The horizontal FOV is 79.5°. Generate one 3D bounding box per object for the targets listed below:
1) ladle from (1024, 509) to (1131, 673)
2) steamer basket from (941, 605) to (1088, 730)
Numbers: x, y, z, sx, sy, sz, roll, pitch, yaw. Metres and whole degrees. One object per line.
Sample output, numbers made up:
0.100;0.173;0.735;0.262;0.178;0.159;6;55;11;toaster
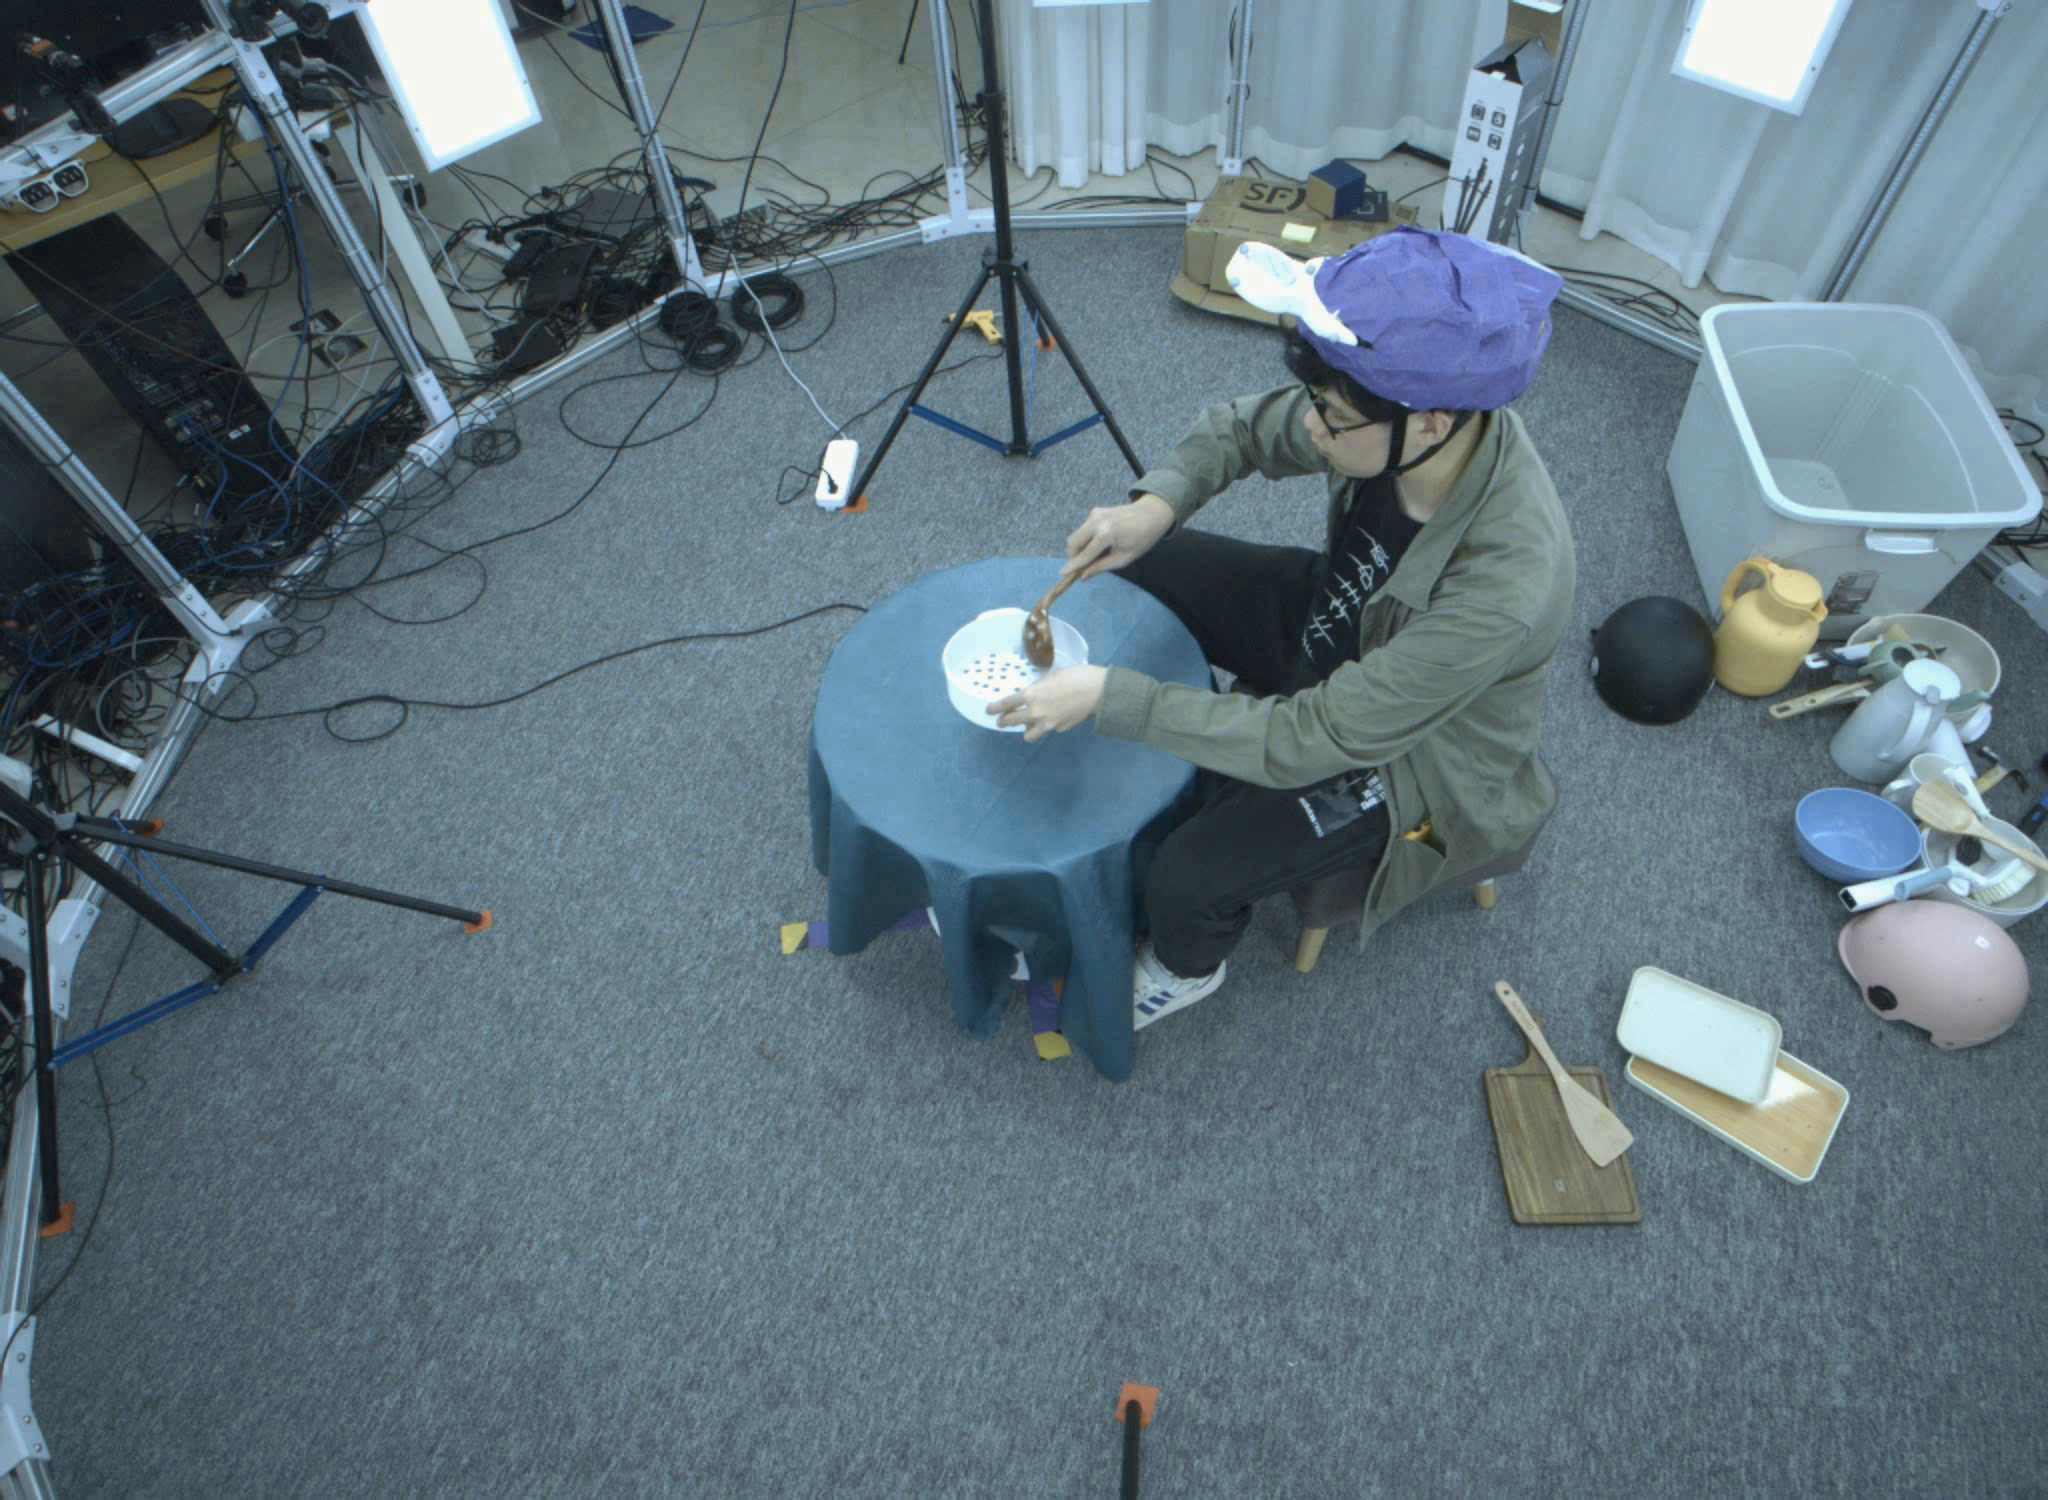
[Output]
0.090;-0.225;1.731;0.077;0.081;0.275;43;72;-9;ladle
-0.012;-0.111;1.709;0.203;0.070;0.226;-10;44;-10;steamer basket
